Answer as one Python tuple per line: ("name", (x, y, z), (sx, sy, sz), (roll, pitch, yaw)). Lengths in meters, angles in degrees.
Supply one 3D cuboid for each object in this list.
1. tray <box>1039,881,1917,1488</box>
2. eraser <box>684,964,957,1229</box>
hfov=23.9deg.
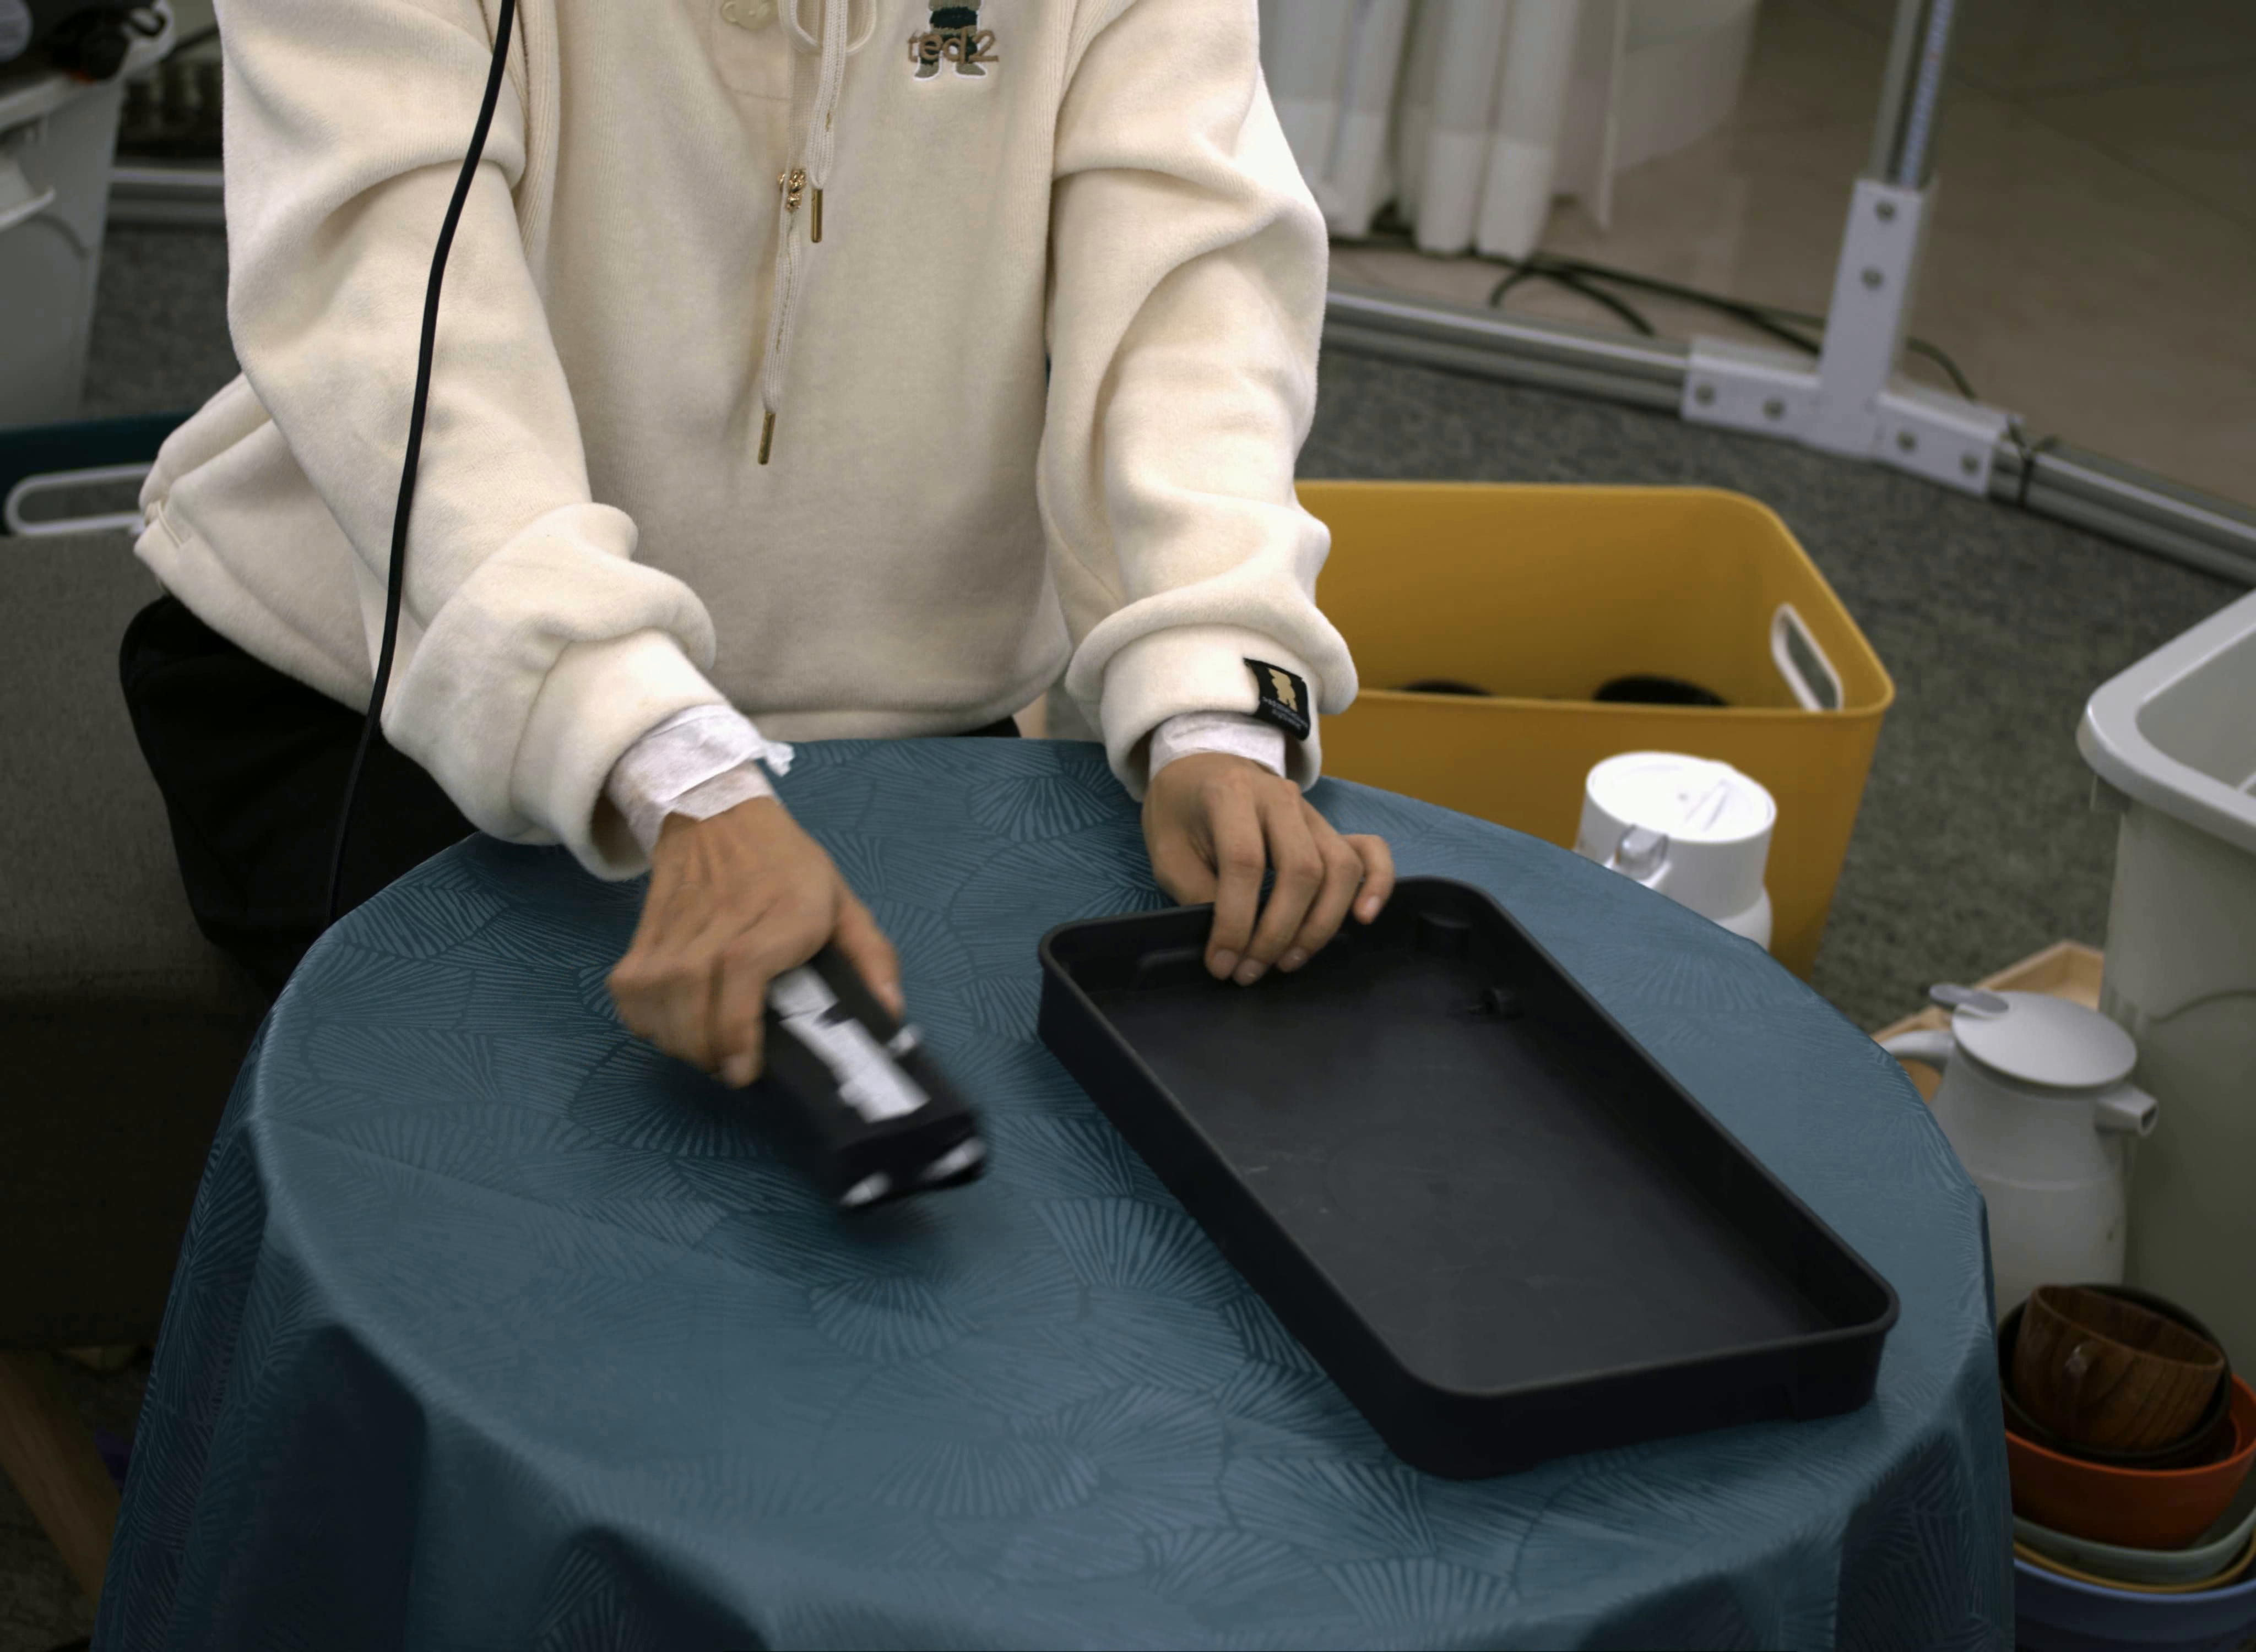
("tray", (0.110, 0.114, 1.803), (0.183, 0.037, 0.321), (-7, 29, -26))
("eraser", (-0.104, 0.090, 1.785), (0.053, 0.030, 0.126), (-9, 31, -22))
